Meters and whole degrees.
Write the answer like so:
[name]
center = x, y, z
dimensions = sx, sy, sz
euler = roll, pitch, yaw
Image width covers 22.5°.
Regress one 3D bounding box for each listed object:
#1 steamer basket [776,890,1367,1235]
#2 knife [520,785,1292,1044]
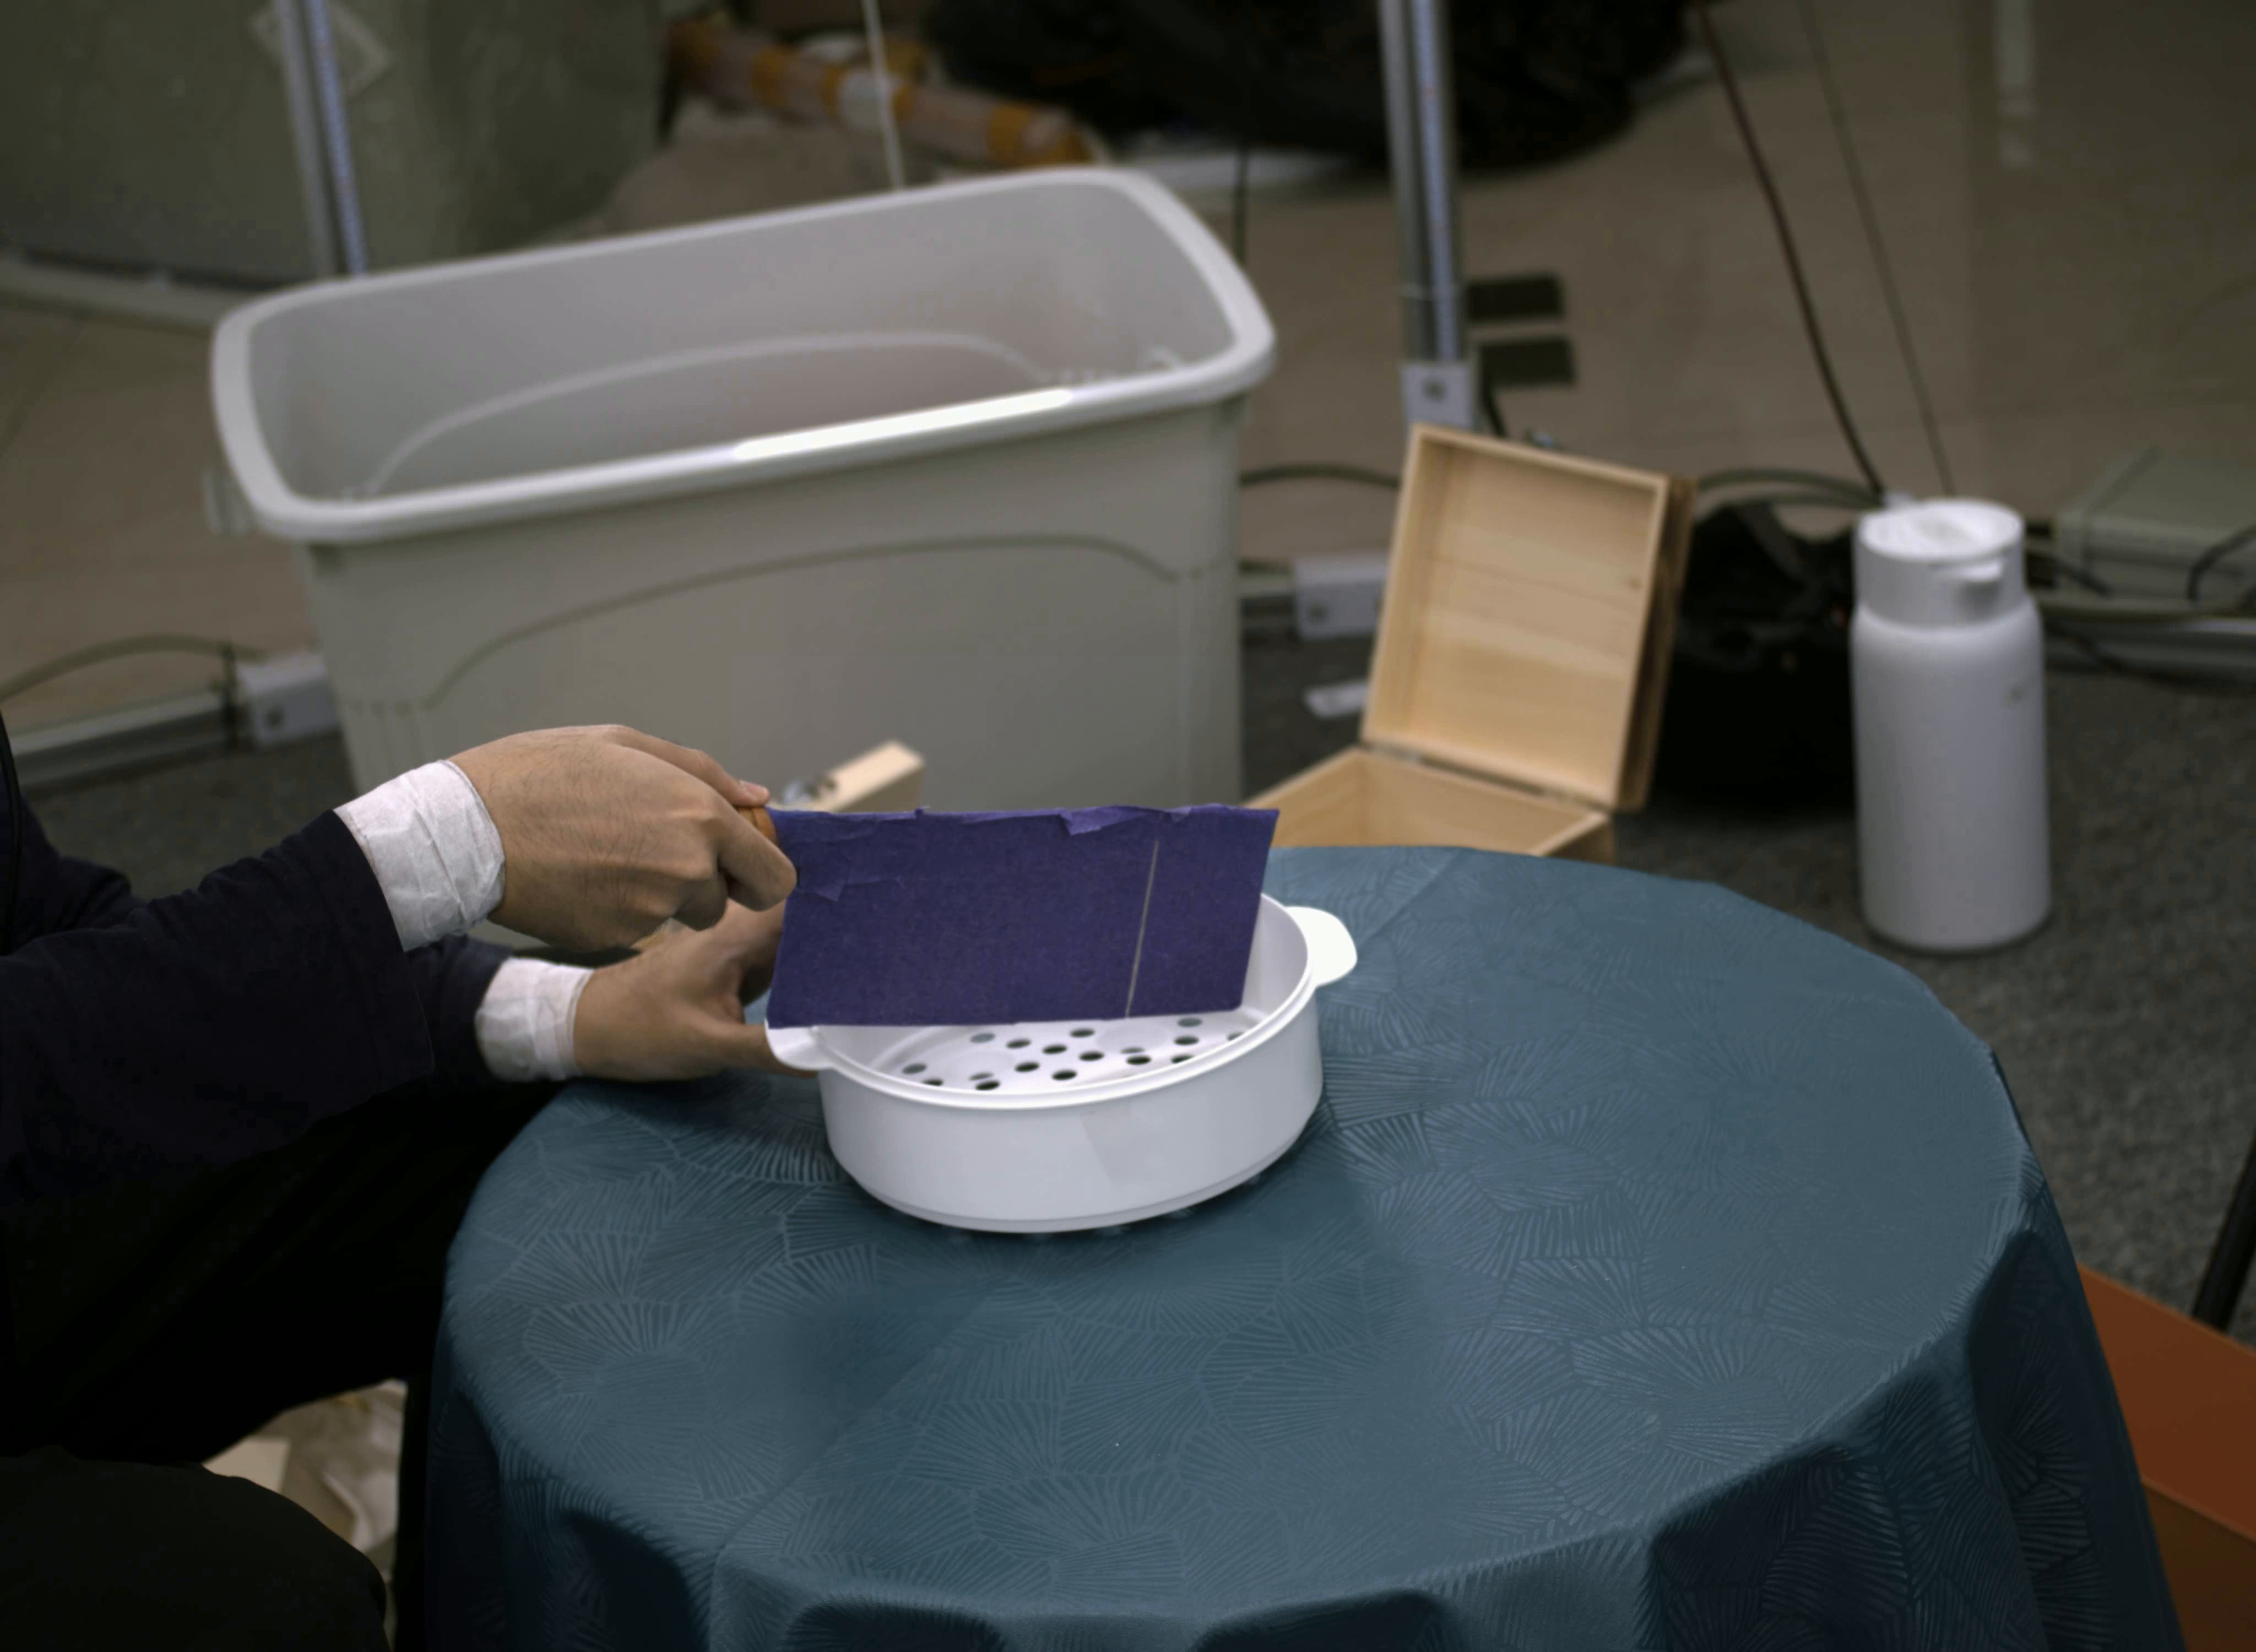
[steamer basket]
center = -0.018, 0.087, 2.189
dimensions = 0.230, 0.070, 0.199
euler = -12, 24, -5
[knife]
center = -0.082, 0.035, 2.144
dimensions = 0.315, 0.105, 0.032
euler = -1, 25, -26
